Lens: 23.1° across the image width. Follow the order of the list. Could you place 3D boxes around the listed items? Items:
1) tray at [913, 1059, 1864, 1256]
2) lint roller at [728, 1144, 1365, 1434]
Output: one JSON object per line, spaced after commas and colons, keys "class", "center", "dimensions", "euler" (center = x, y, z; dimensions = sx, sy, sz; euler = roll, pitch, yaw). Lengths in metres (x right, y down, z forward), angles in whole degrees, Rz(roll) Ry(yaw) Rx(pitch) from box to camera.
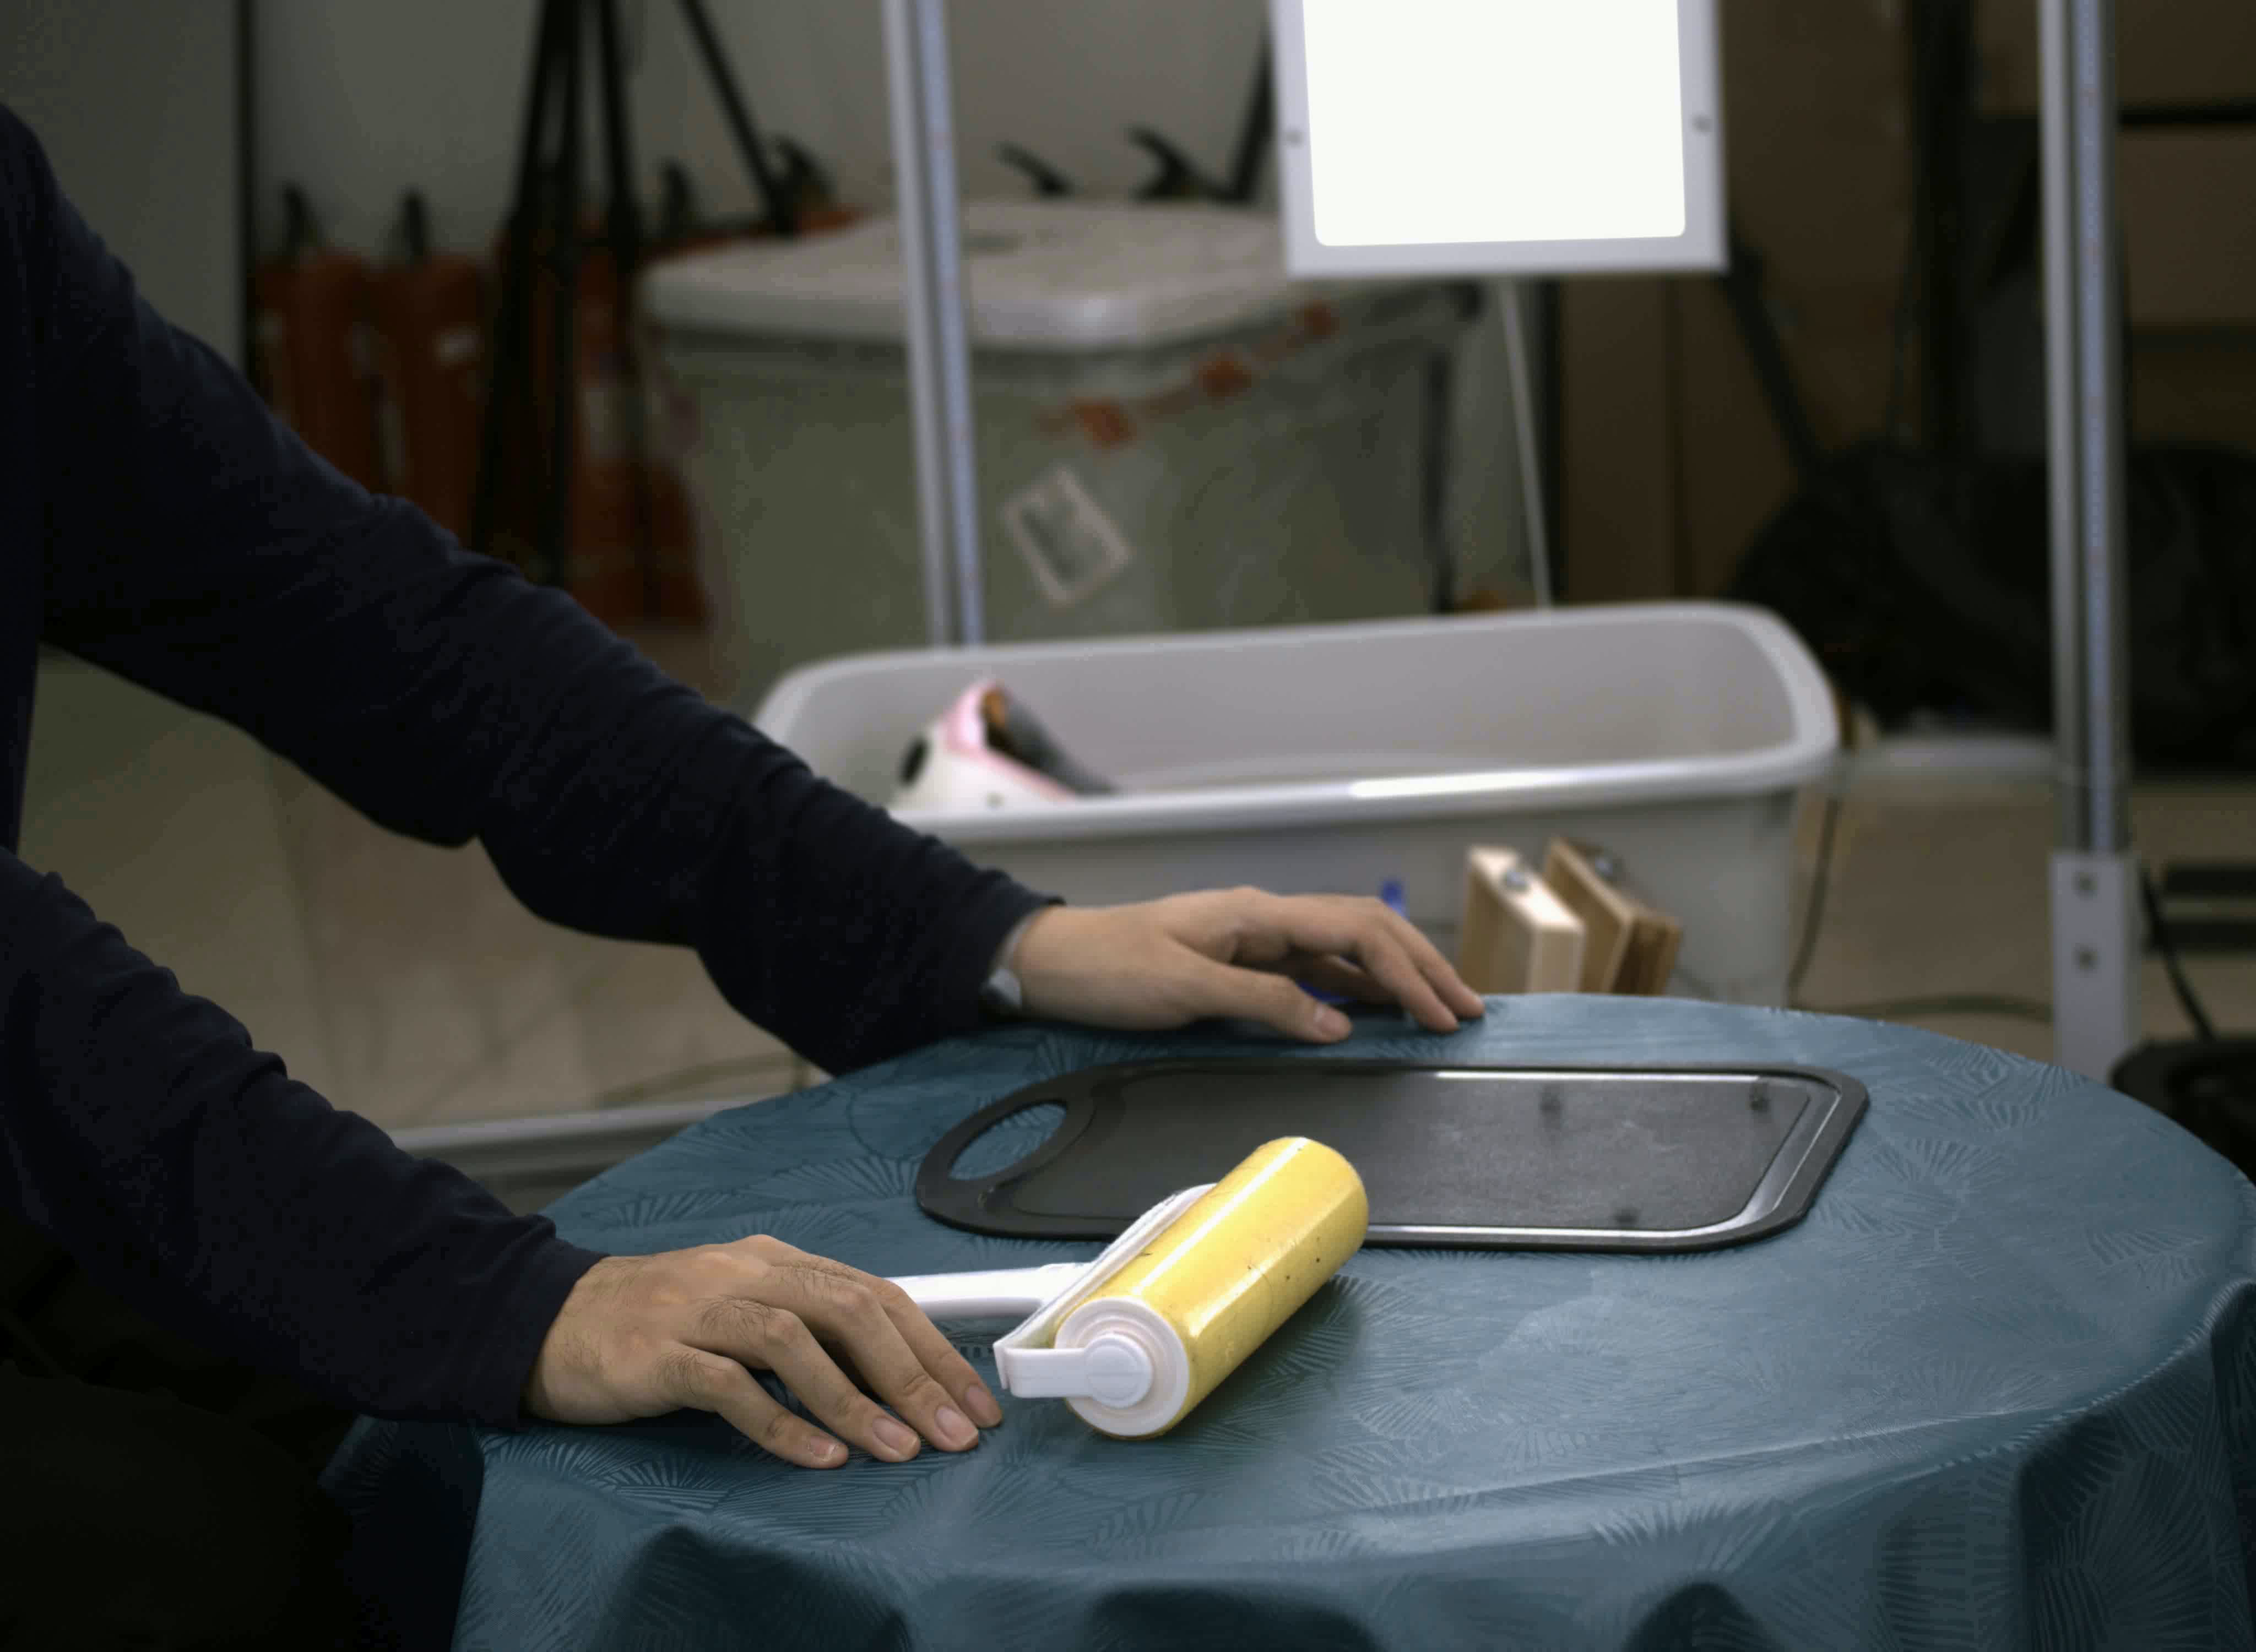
{"class": "tray", "center": [0.086, 0.111, 1.920], "dimensions": [0.330, 0.010, 0.207], "euler": [-1, 14, 20]}
{"class": "lint roller", "center": [-0.039, 0.142, 1.751], "dimensions": [0.195, 0.051, 0.171], "euler": [3, 15, 21]}
